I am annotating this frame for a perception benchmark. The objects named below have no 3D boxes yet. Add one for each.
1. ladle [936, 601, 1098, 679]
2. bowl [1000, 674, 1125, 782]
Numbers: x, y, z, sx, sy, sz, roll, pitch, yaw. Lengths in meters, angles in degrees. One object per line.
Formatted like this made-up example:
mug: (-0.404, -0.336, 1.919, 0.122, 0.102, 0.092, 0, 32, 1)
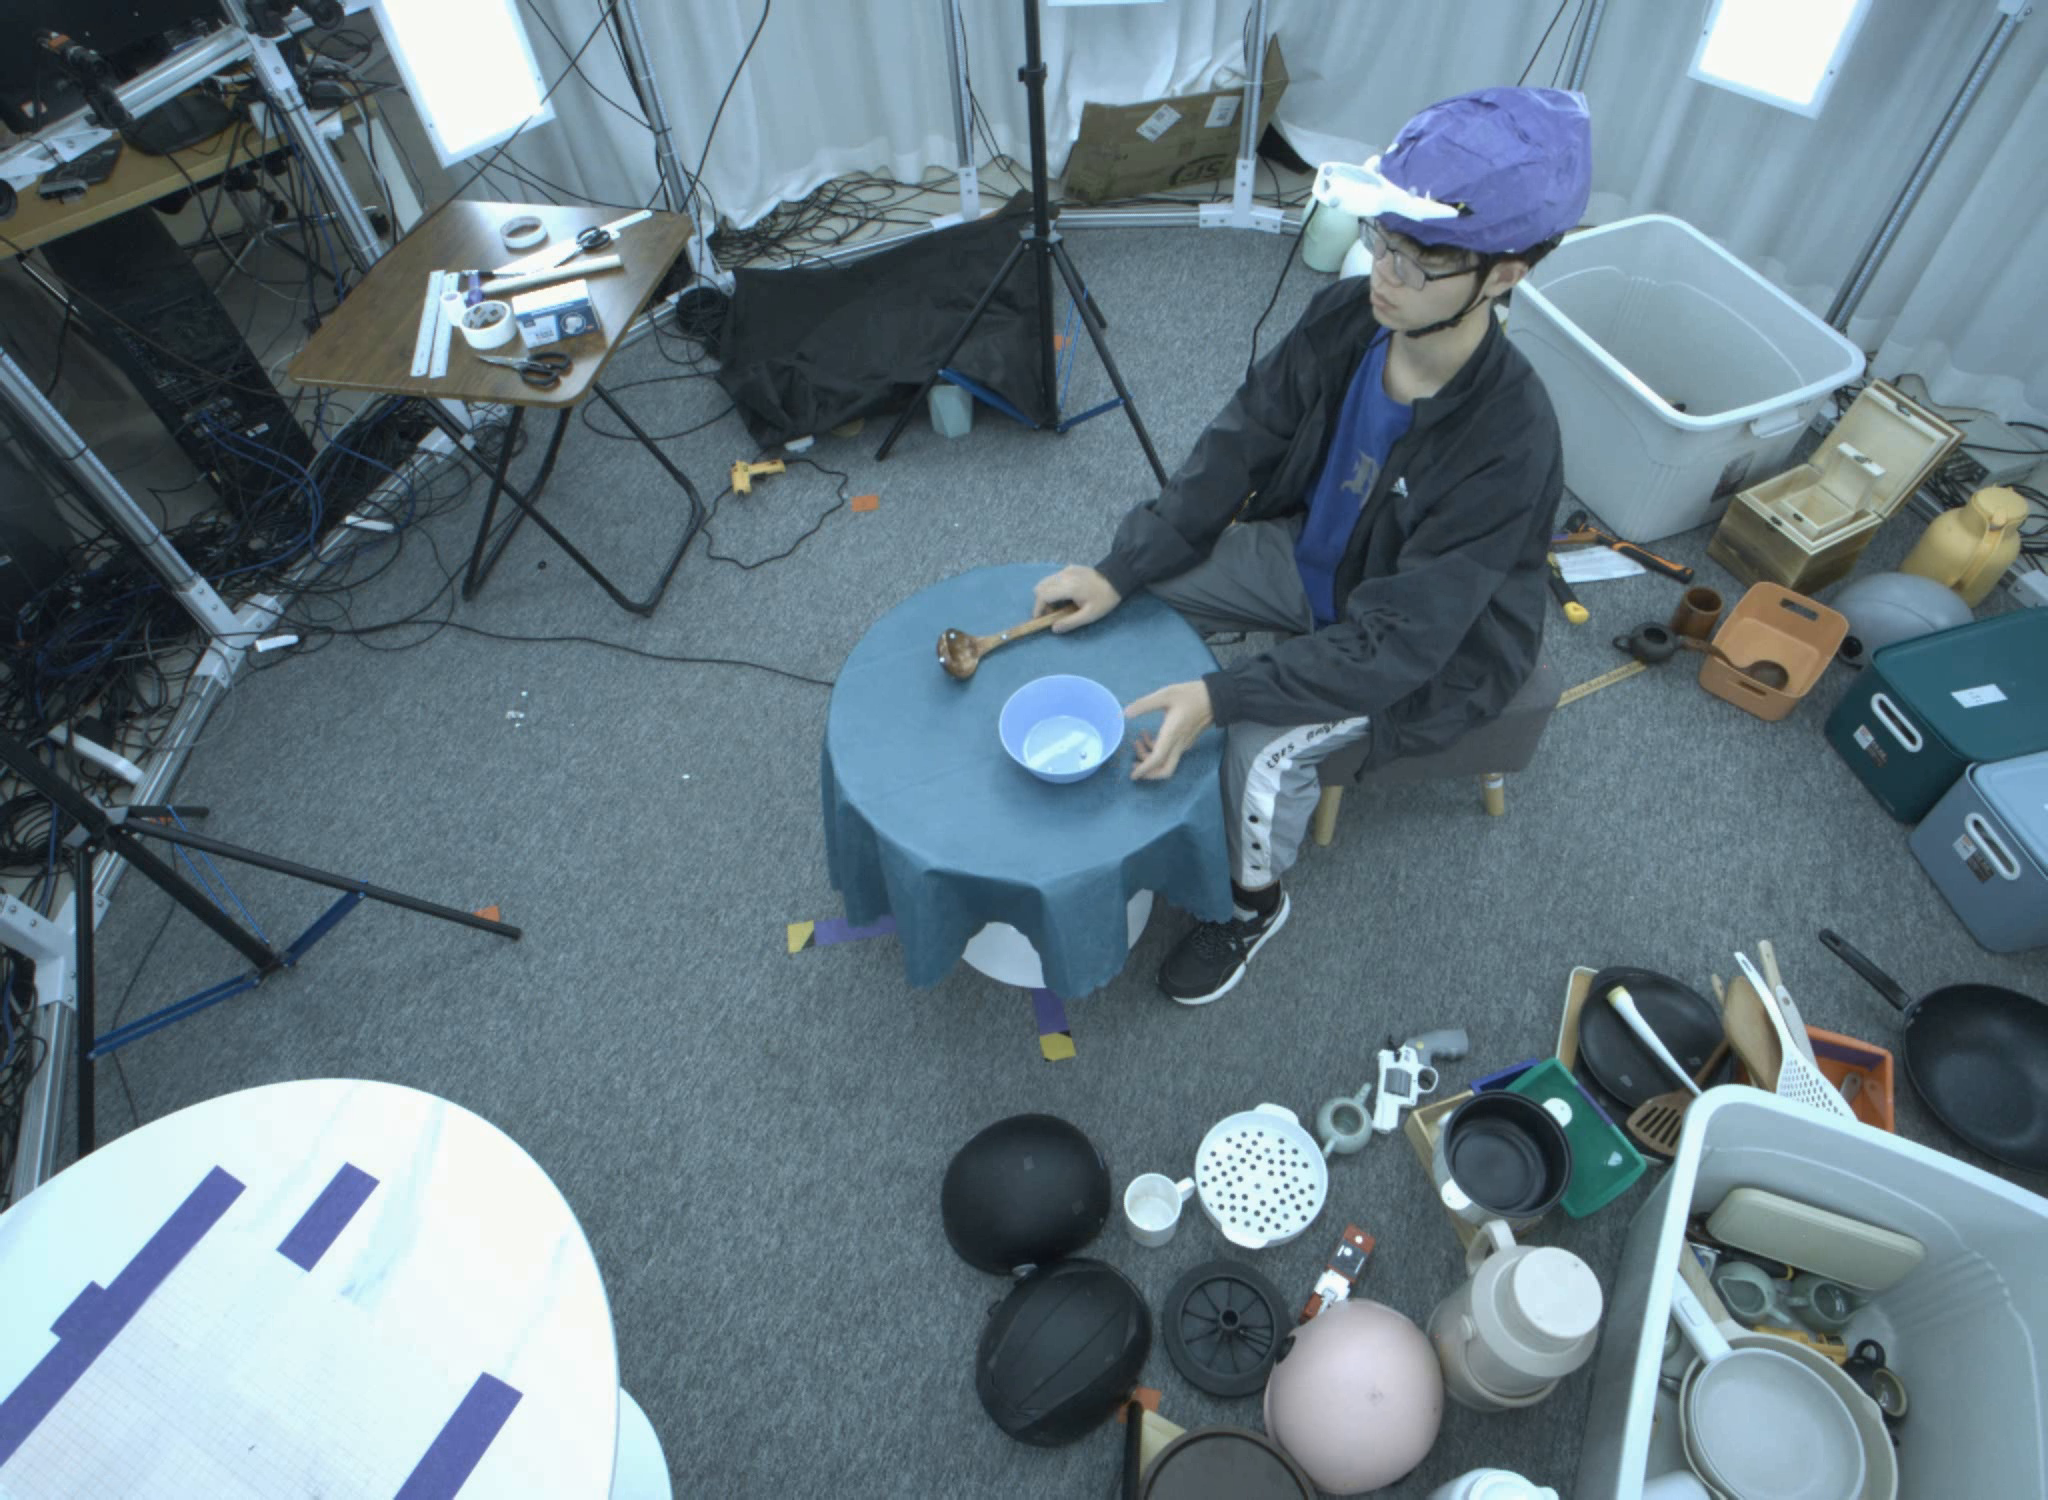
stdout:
ladle: (-0.006, -0.181, 1.866, 0.276, 0.075, 0.082, -19, 101, -14)
bowl: (0.055, -0.020, 1.747, 0.176, 0.071, 0.174, 0, 55, 2)
